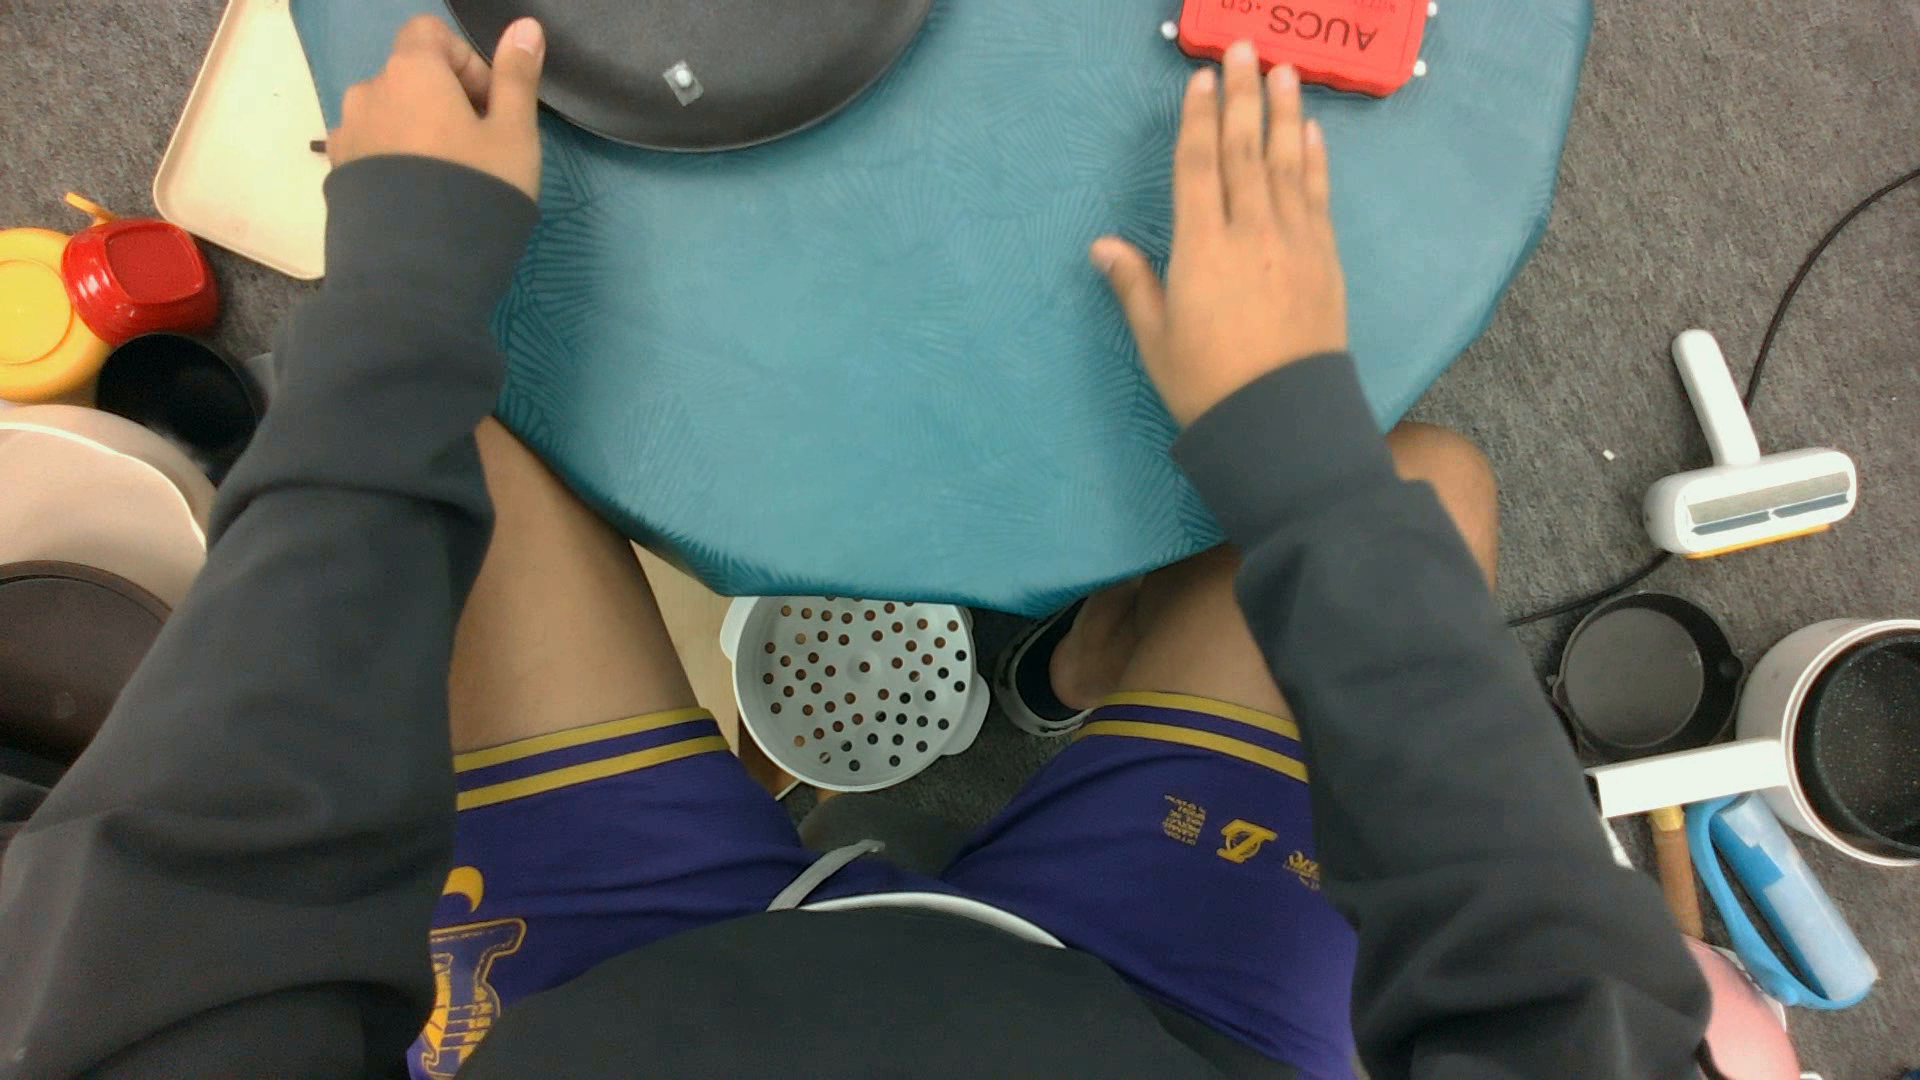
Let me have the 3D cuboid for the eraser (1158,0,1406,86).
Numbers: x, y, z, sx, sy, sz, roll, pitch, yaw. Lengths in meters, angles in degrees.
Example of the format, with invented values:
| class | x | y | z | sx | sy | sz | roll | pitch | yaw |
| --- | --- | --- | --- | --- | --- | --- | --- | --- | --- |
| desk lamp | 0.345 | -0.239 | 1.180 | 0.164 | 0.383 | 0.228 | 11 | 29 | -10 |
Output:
| class | x | y | z | sx | sy | sz | roll | pitch | yaw |
| --- | --- | --- | --- | --- | --- | --- | --- | --- | --- |
| eraser | 0.149 | -0.248 | 0.634 | 0.108 | 0.023 | 0.059 | 11 | 90 | -1 |

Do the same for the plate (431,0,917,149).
| class | x | y | z | sx | sy | sz | roll | pitch | yaw |
| --- | --- | --- | --- | --- | --- | --- | --- | --- | --- |
| plate | -0.128 | -0.297 | 0.624 | 0.244 | 0.023 | 0.244 | 0 | 91 | -3 |
